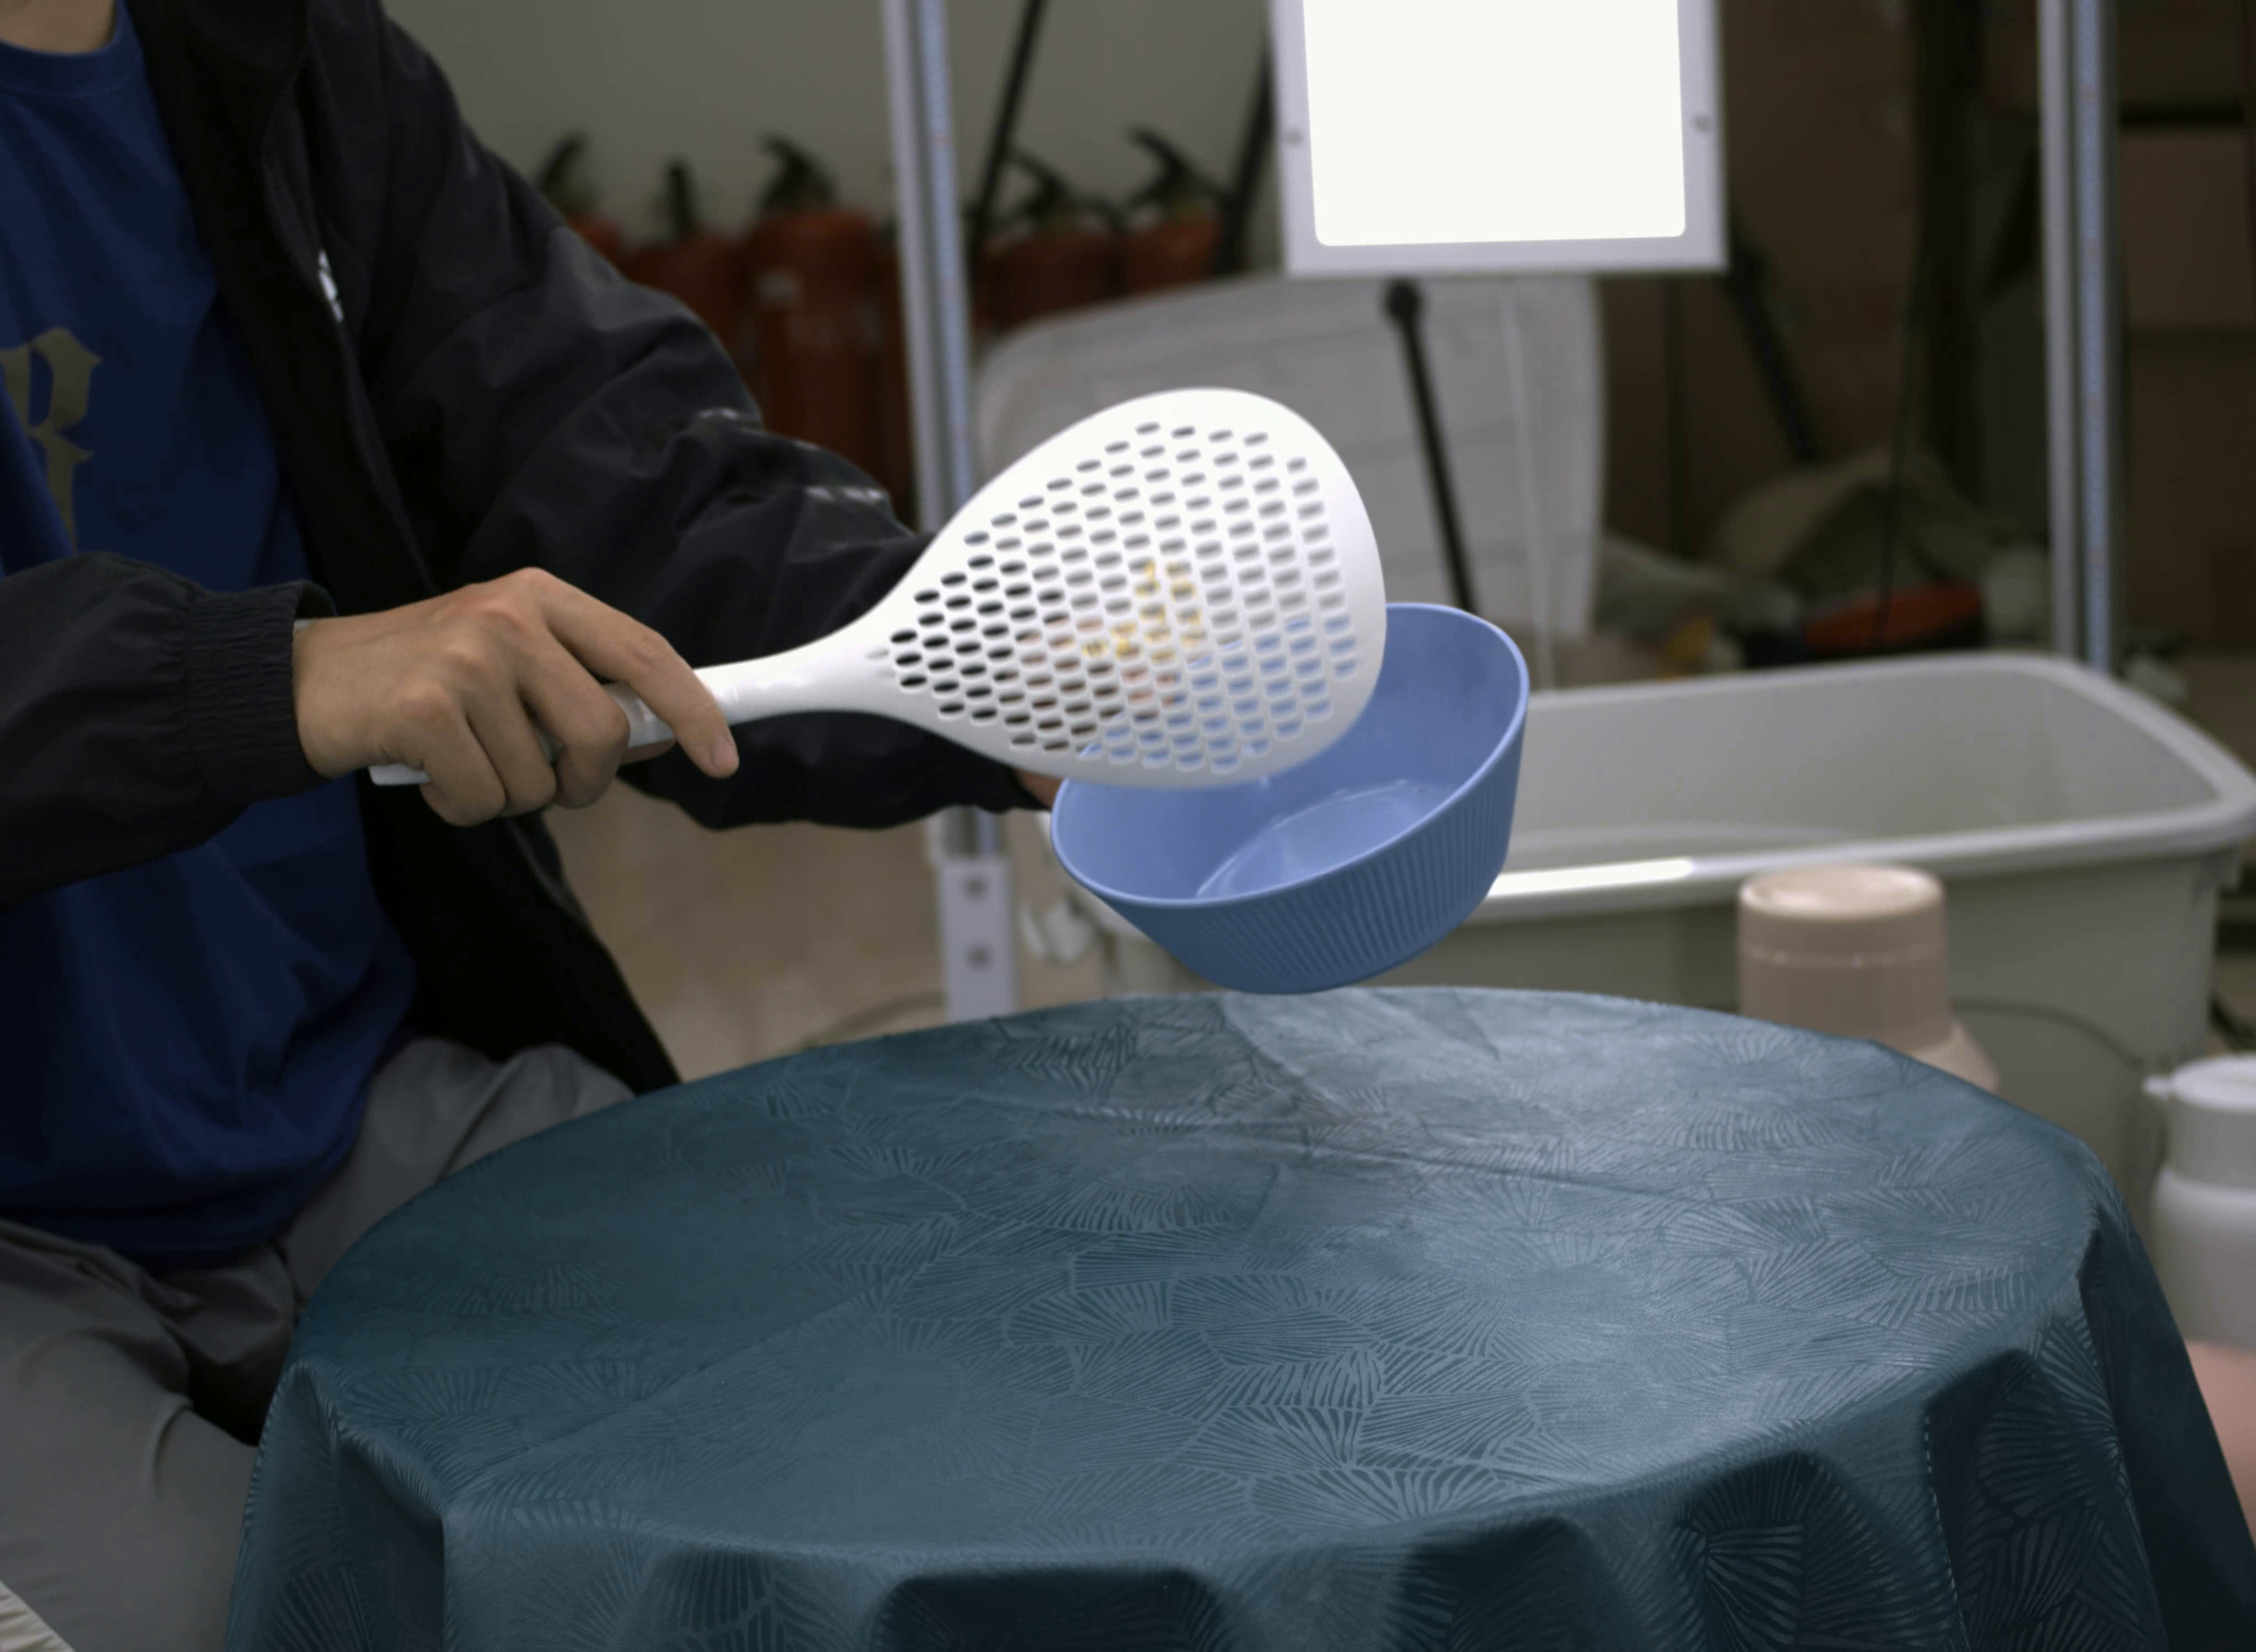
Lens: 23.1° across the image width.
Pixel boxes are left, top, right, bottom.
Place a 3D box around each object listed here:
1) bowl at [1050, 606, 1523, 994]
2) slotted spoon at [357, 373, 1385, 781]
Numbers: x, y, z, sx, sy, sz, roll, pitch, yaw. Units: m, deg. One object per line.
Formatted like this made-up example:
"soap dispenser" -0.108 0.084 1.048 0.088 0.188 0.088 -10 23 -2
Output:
"bowl" 0.065 -0.001 1.915 0.177 0.070 0.175 -20 29 10
"slotted spoon" -0.086 -0.058 1.850 0.350 0.137 0.050 -11 11 10
